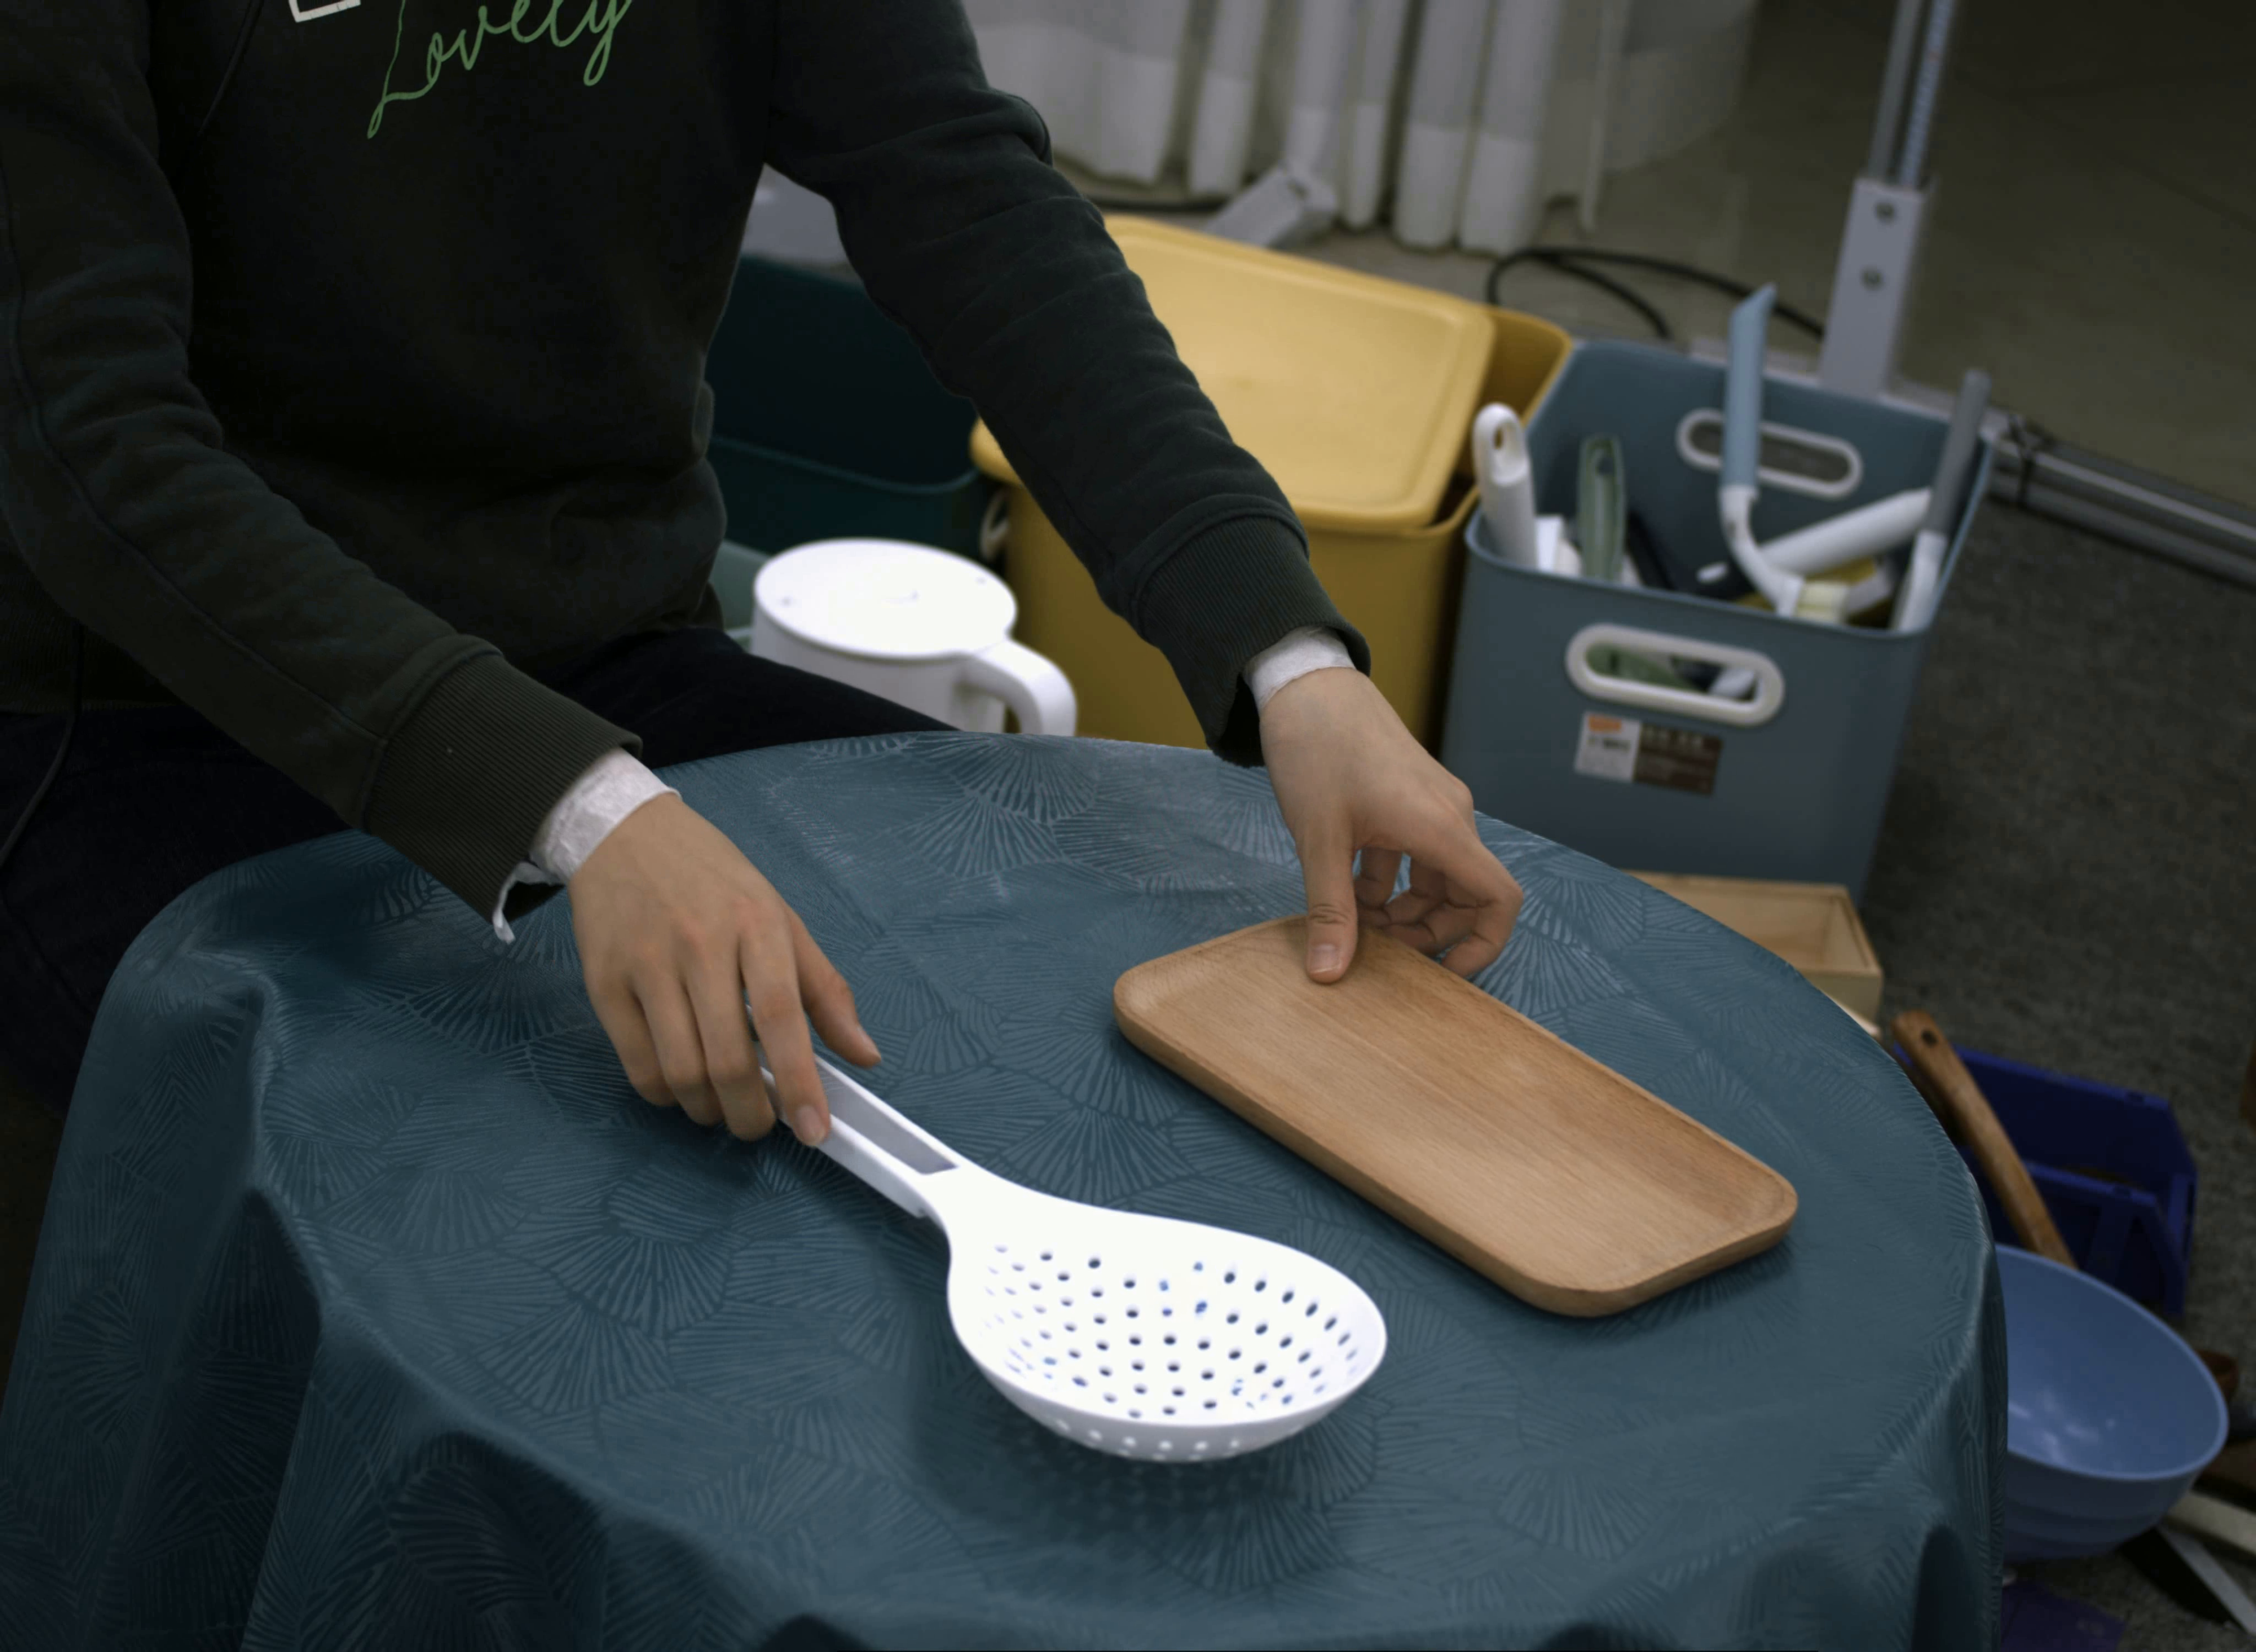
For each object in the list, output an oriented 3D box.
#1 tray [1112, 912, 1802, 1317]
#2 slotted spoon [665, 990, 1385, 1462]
[{"bbox_3d":[0.112,0.098,1.857,0.130,0.023,0.253,-14,33,-39],"label":"tray"},{"bbox_3d":[-0.052,0.124,1.737,0.135,0.045,0.353,-11,30,-35],"label":"slotted spoon"}]
